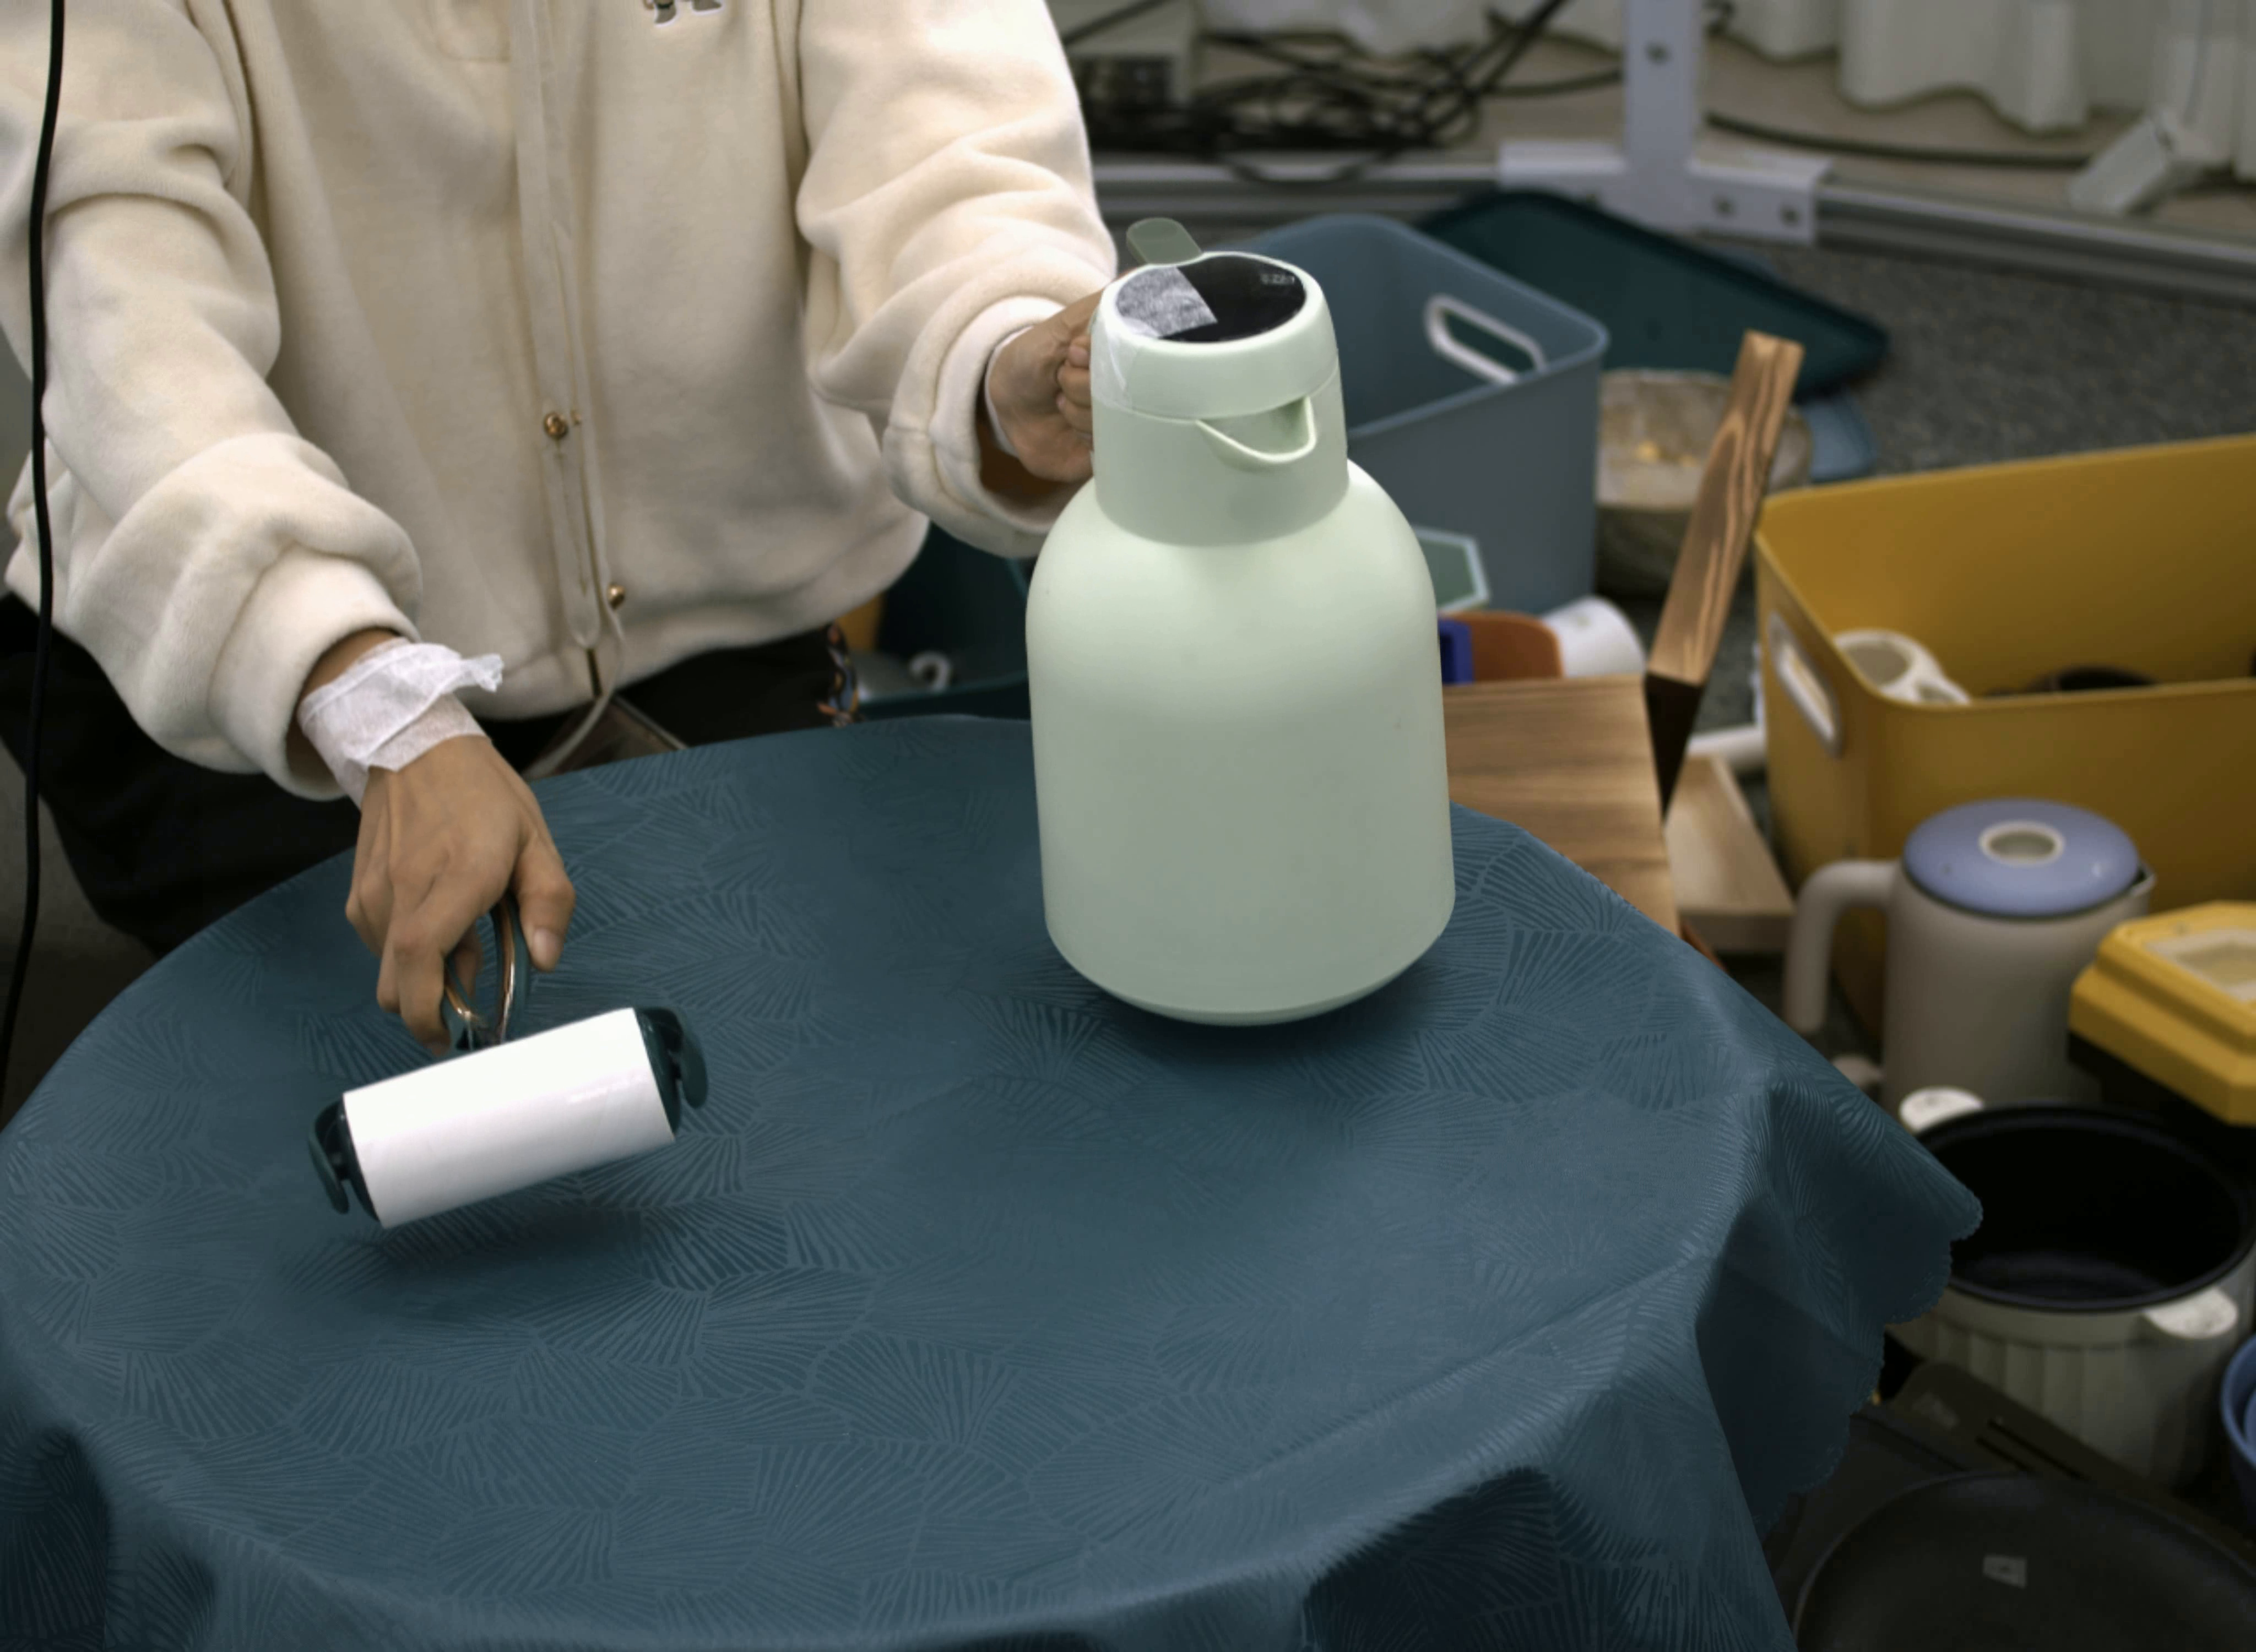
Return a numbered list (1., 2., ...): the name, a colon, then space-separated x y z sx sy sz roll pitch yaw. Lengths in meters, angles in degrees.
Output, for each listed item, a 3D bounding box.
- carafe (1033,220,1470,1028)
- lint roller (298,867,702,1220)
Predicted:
1. carafe: 0.033 -0.075 1.936 0.144 0.254 0.188 -14 28 -13
2. lint roller: -0.218 0.054 1.883 0.134 0.047 0.183 -16 38 -5
